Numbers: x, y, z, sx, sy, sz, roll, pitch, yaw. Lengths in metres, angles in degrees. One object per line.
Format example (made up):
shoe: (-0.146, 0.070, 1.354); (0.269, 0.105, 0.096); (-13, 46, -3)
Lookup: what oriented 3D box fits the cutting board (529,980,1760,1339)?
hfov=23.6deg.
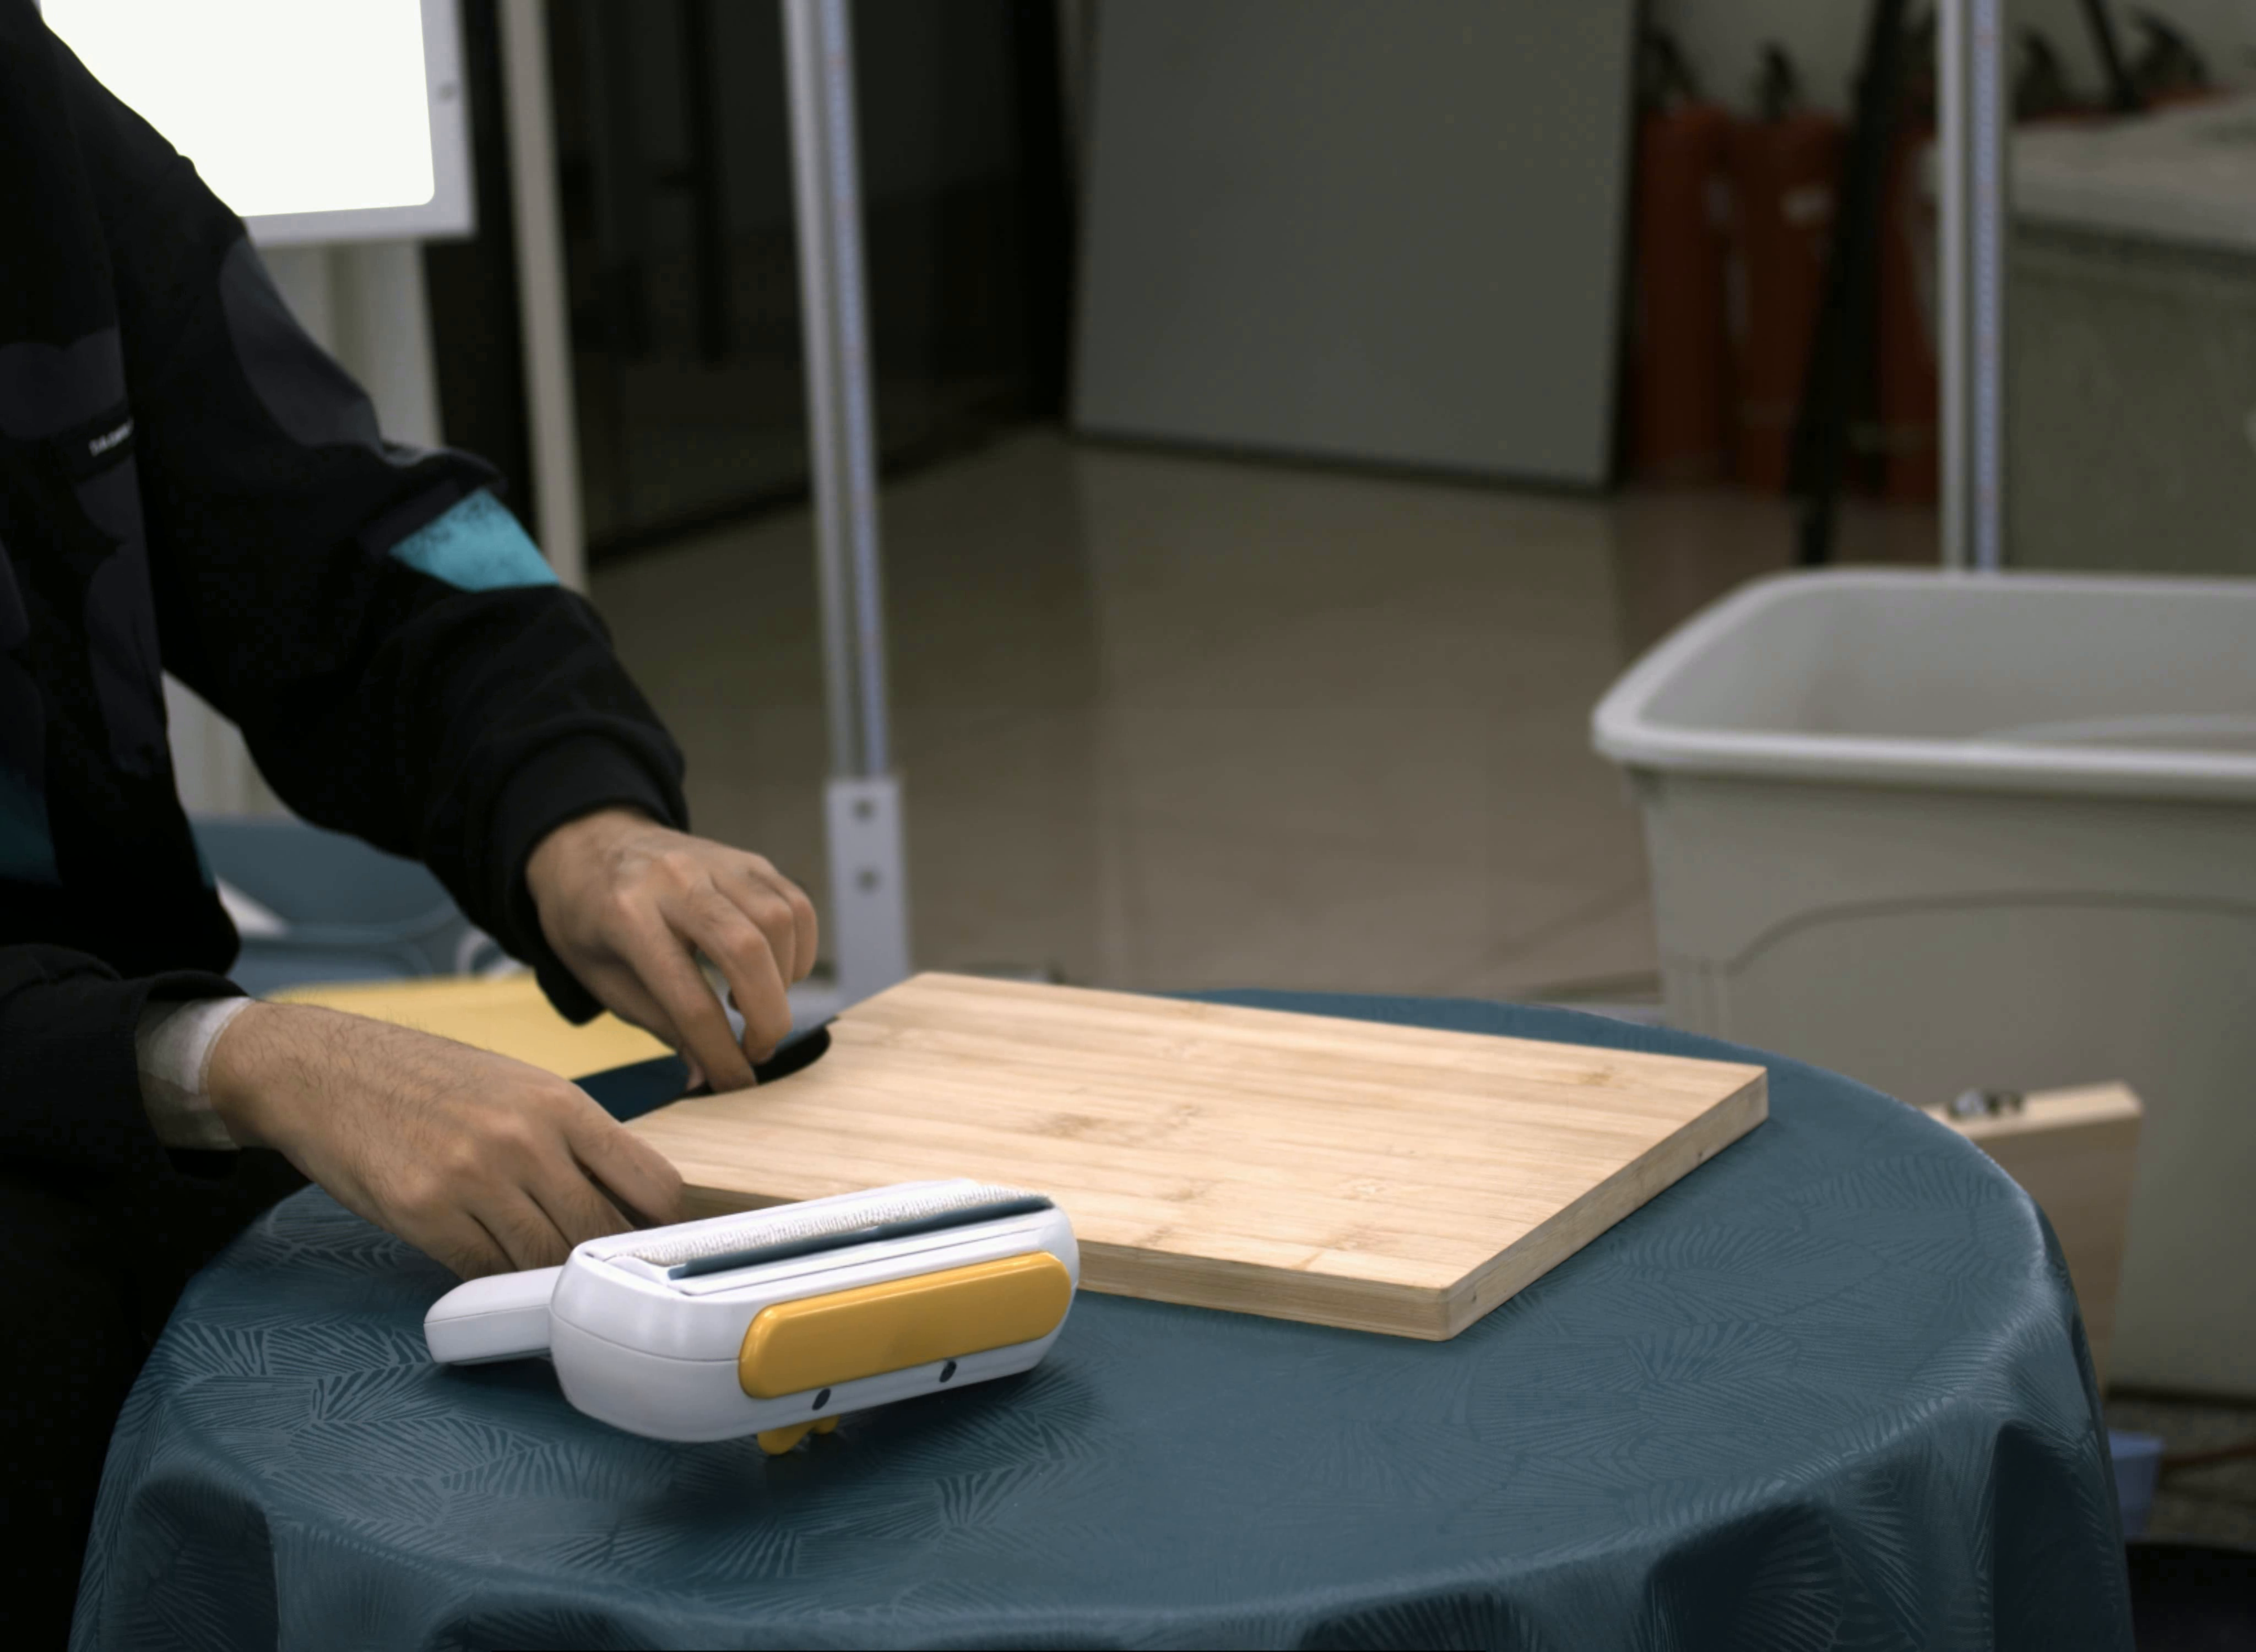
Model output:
cutting board: (0.007, 0.106, 1.798); (0.350, 0.024, 0.247); (4, 16, 31)

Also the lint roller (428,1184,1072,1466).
lint roller: (-0.136, 0.141, 1.591); (0.194, 0.075, 0.189); (6, 12, 42)
